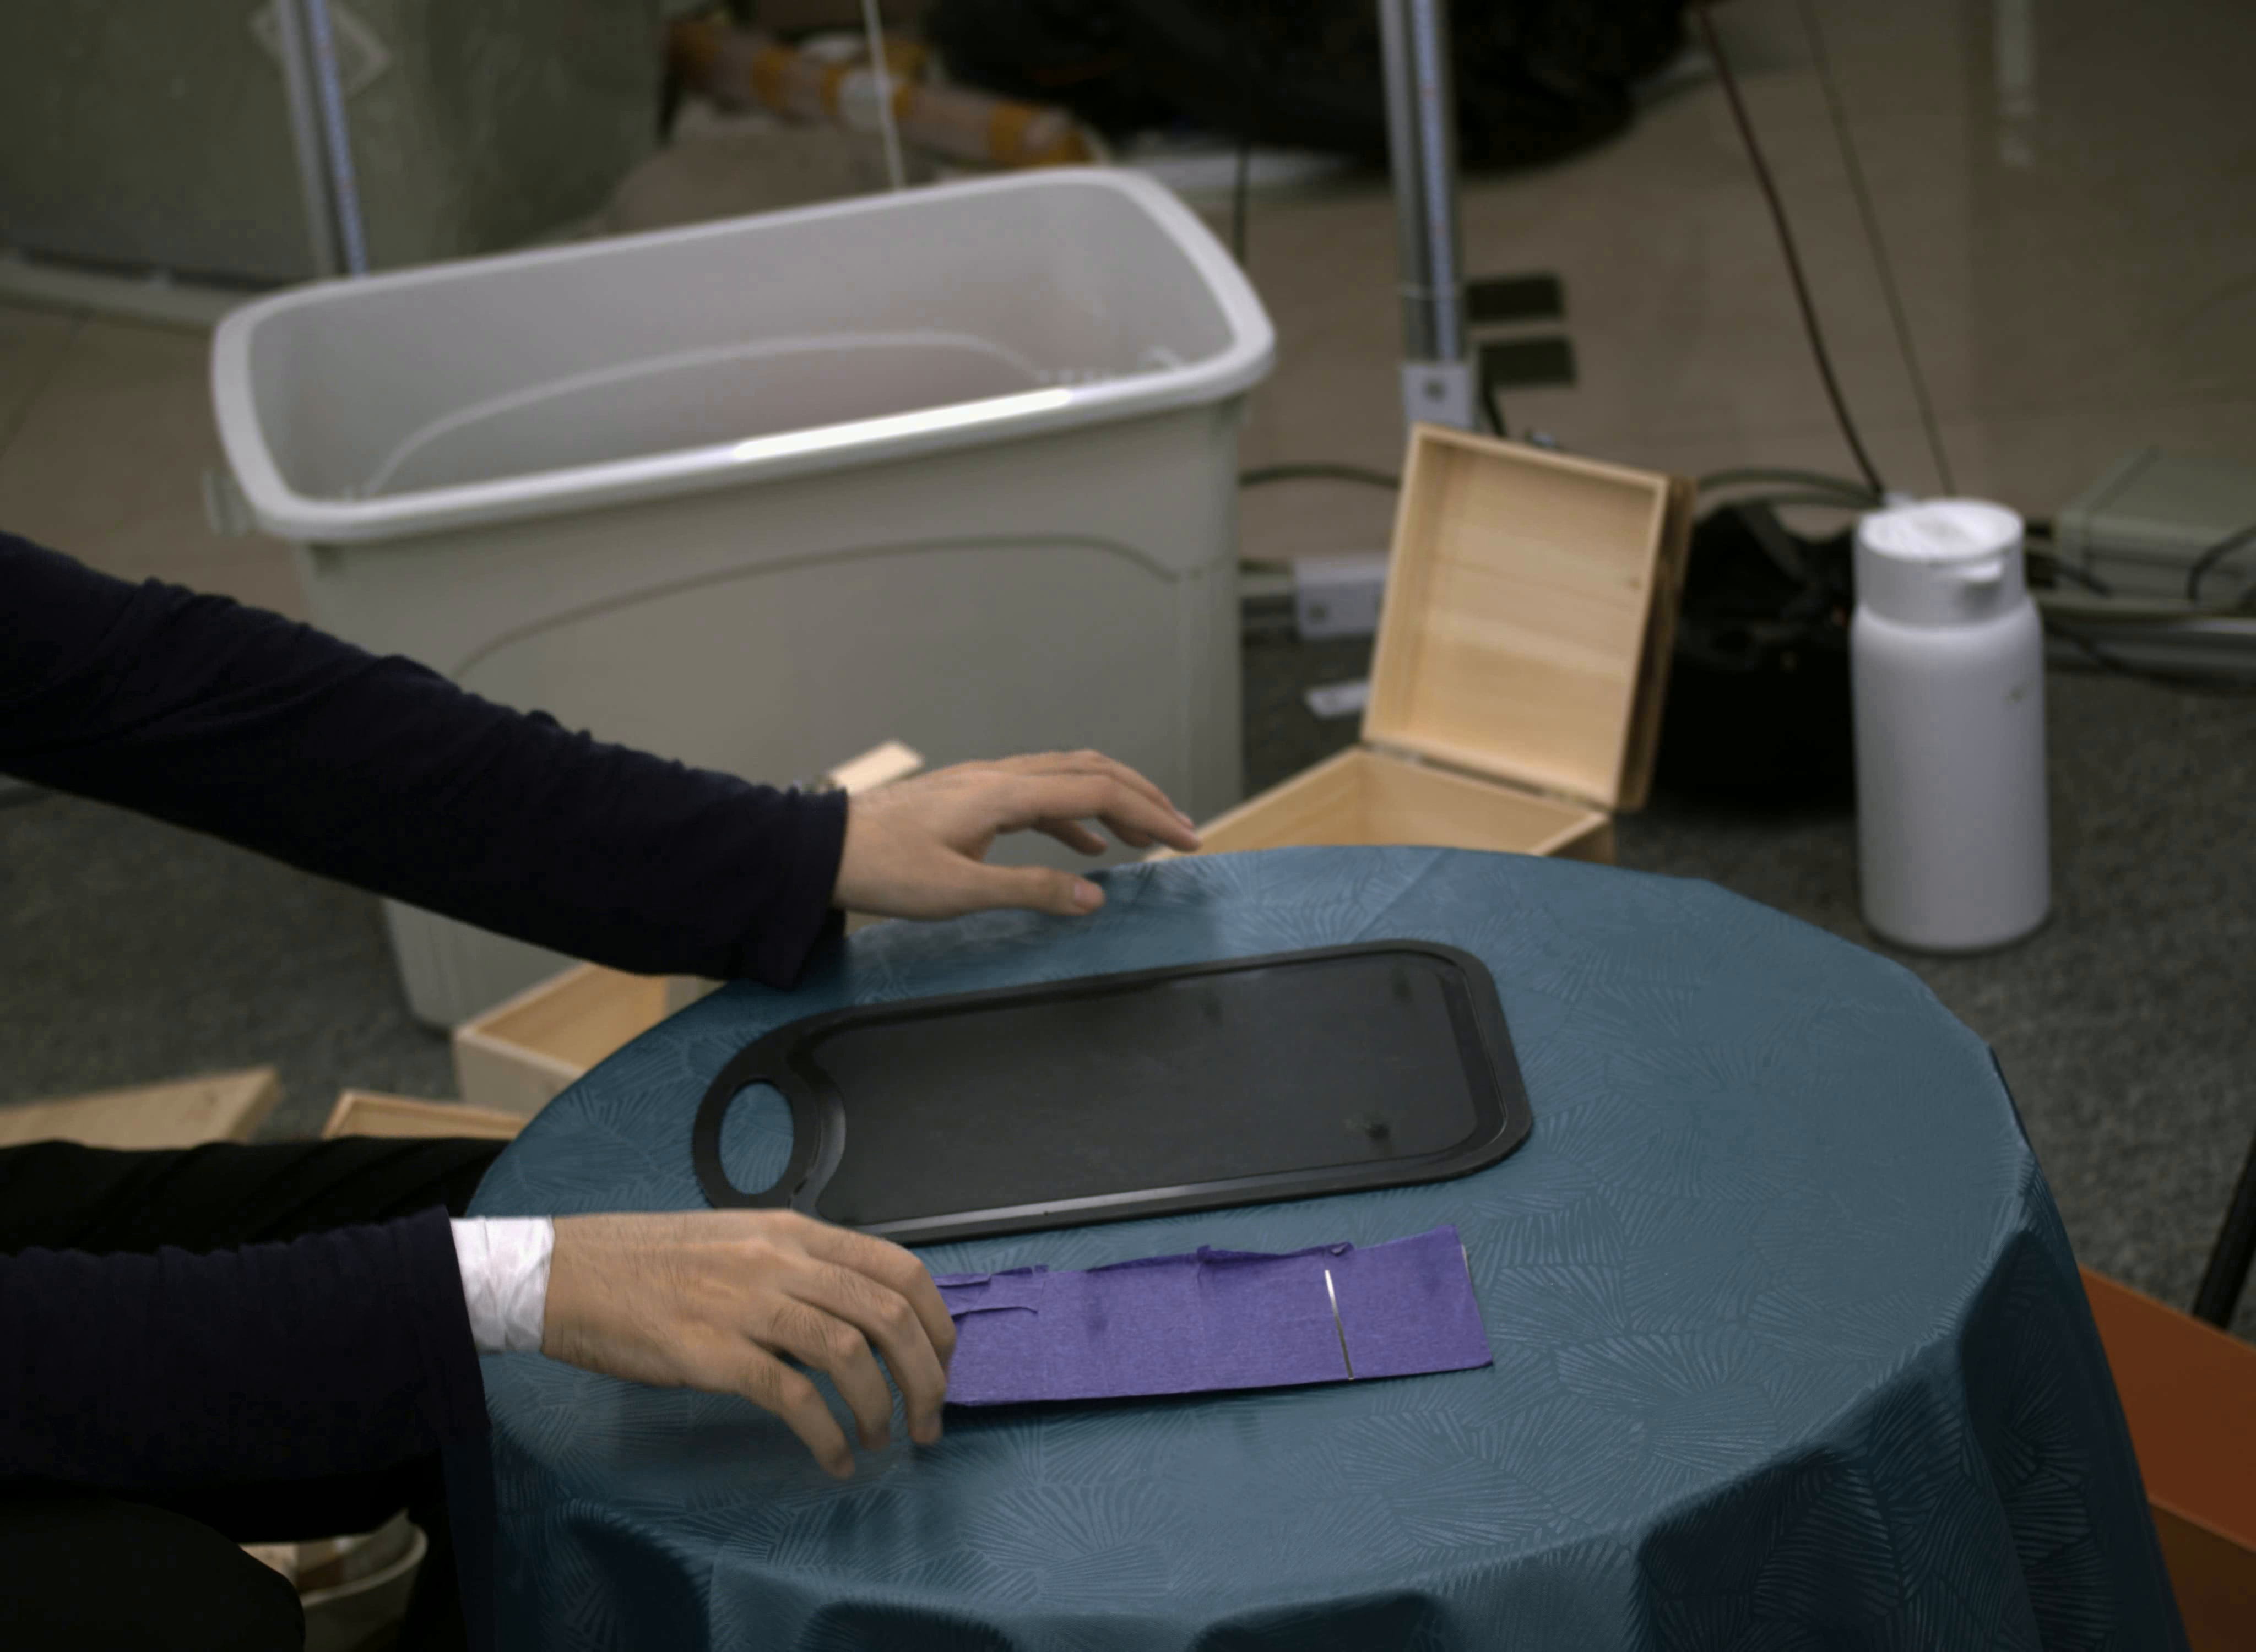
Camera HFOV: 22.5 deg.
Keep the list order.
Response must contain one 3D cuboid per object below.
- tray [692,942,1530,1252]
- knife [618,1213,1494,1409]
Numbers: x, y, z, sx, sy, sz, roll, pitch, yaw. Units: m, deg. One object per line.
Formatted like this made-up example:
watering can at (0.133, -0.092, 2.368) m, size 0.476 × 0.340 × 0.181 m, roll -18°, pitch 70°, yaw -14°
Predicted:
tray at (-0.010, 0.104, 2.222) m, size 0.325 × 0.010 × 0.208 m, roll -7°, pitch 24°, yaw 0°
knife at (-0.028, 0.178, 2.043) m, size 0.315 × 0.033 × 0.102 m, roll -6°, pitch 24°, yaw 0°
